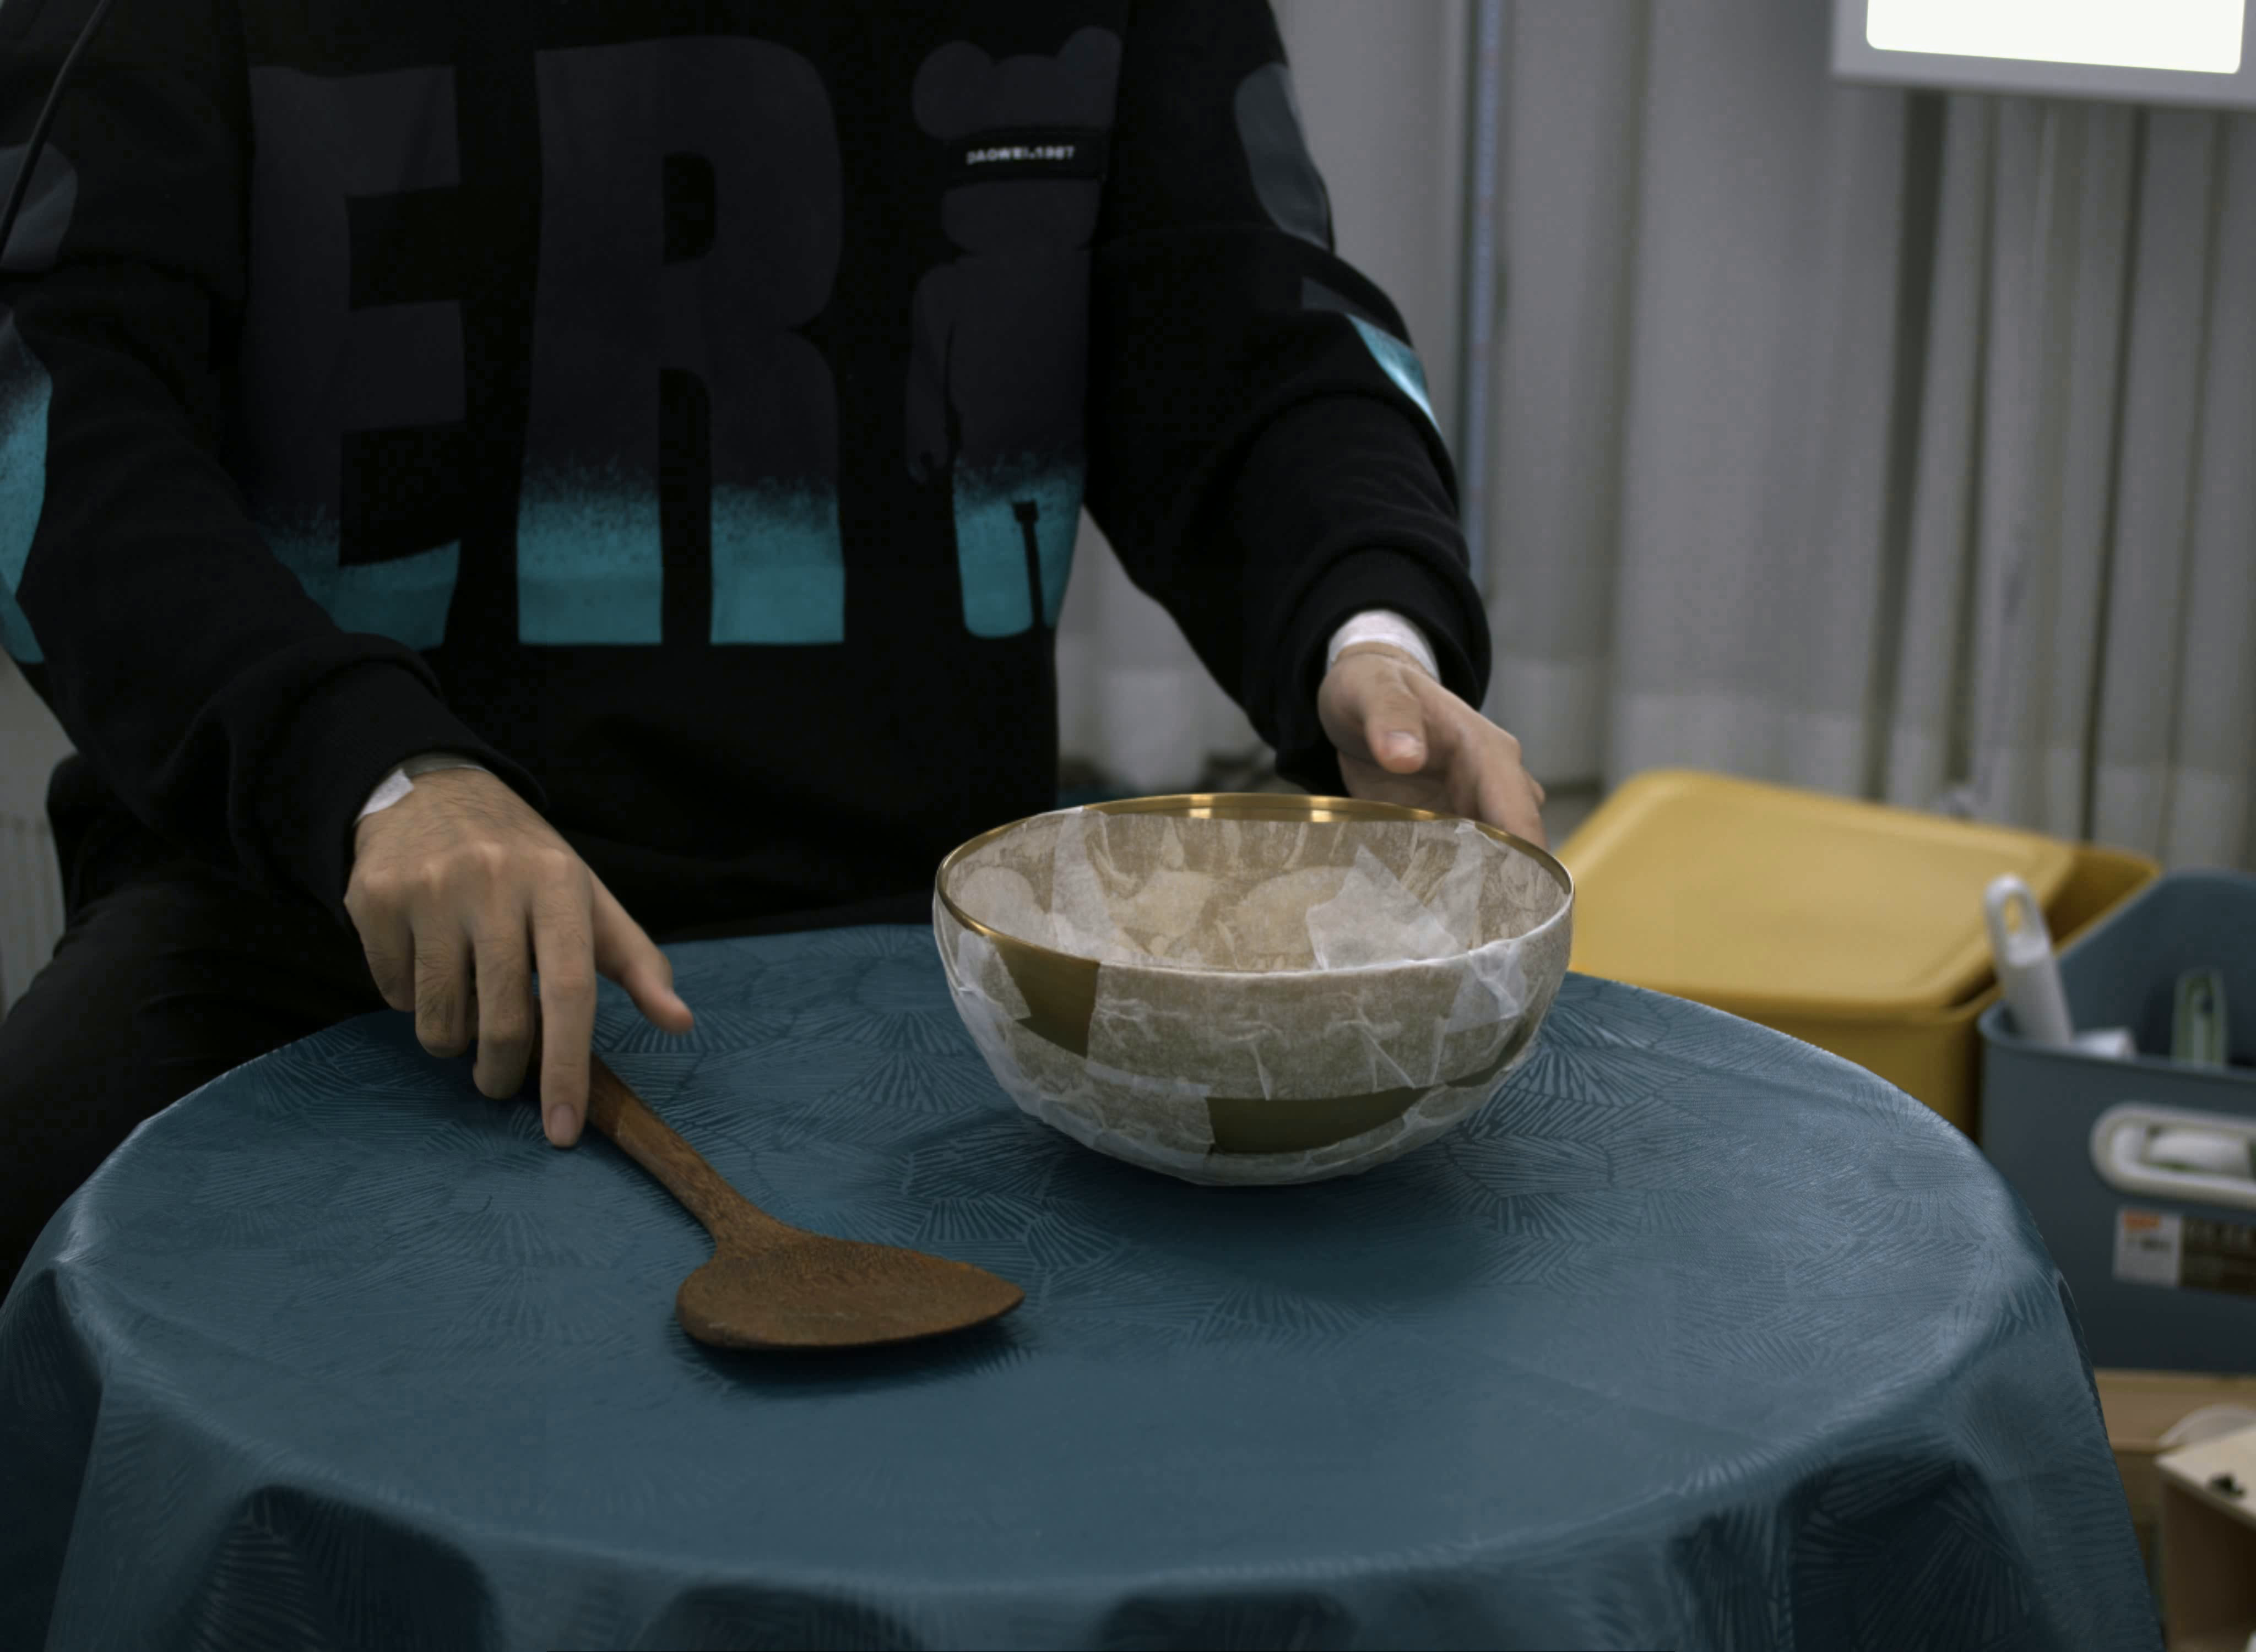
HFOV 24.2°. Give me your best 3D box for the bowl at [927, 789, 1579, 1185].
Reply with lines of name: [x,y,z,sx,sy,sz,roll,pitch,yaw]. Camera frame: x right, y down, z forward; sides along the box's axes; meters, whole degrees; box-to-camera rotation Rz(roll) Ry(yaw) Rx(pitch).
bowl: [0.040,0.058,1.652,0.214,0.095,0.213,-1,15,1]

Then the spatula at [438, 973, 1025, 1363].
spatula: [-0.146,0.100,1.636,0.096,0.016,0.381,-6,18,-25]
